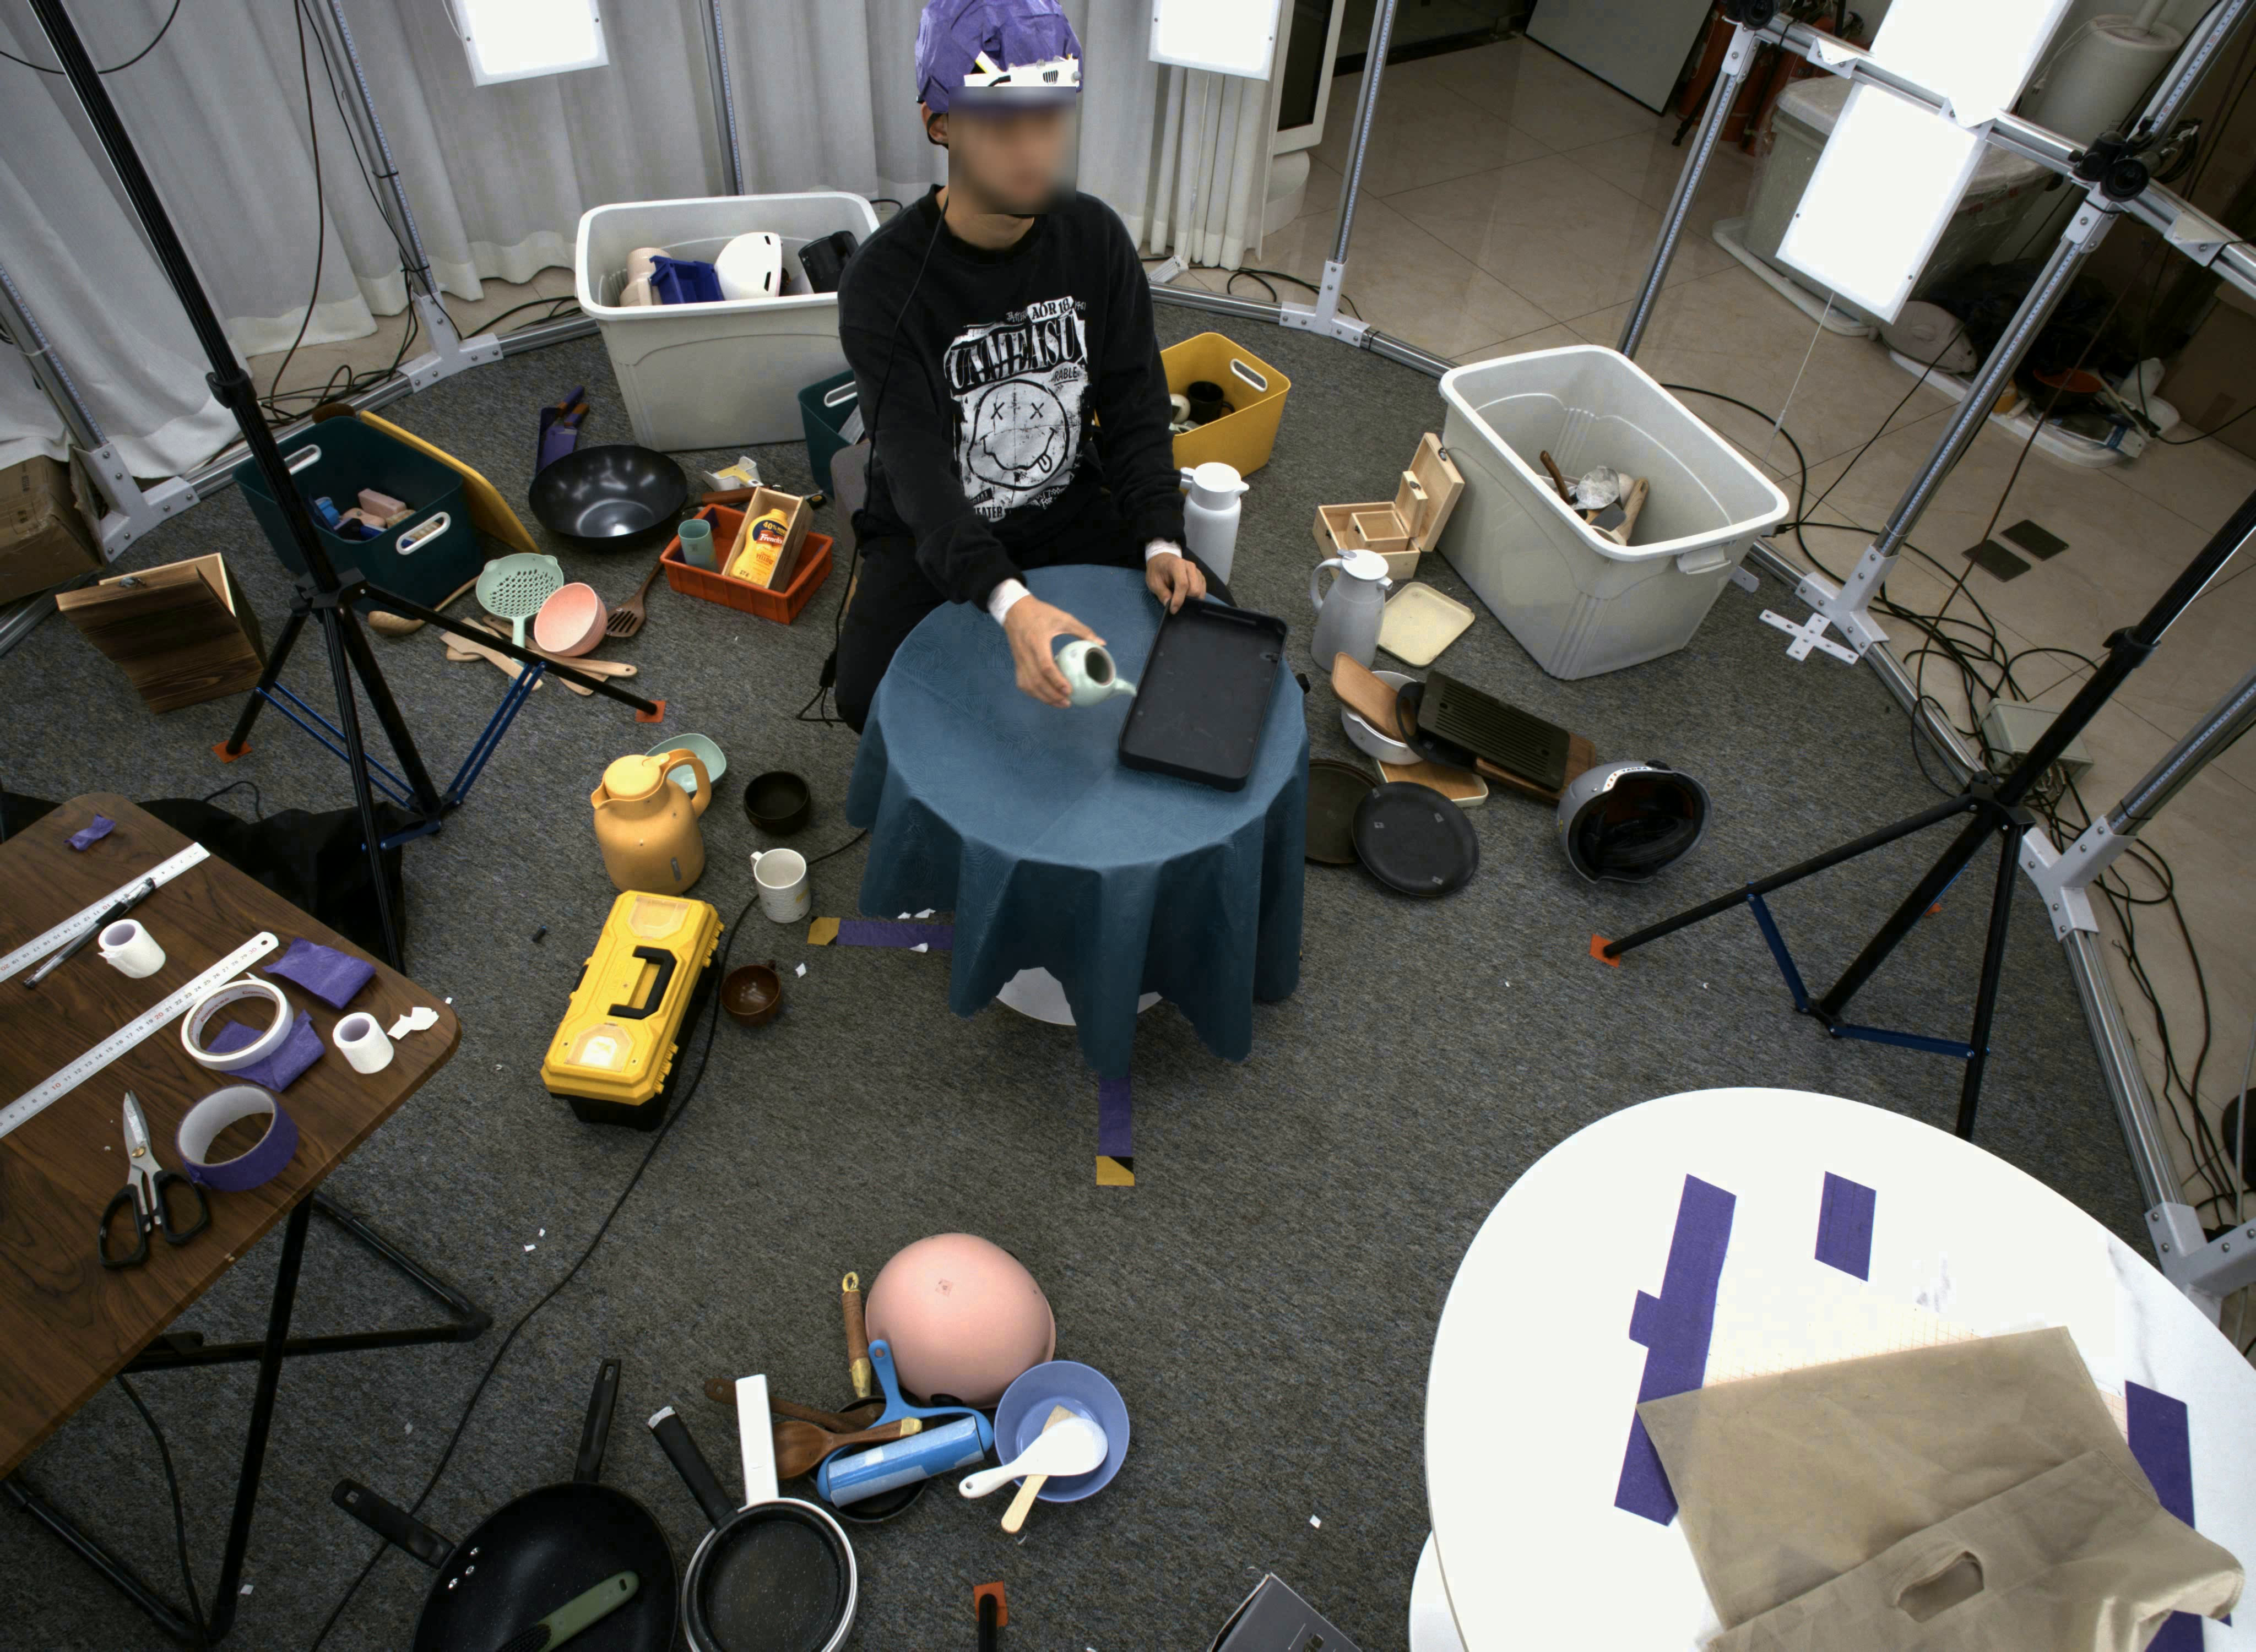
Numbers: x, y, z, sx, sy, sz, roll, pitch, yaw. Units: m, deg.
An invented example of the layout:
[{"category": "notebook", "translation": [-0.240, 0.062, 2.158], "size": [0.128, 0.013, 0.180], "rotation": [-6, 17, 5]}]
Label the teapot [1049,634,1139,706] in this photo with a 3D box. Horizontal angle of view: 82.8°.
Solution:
[{"category": "teapot", "translation": [-0.055, -0.202, 1.685], "size": [0.074, 0.141, 0.090], "rotation": [-18, 47, 40]}]

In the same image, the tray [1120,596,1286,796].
[{"category": "tray", "translation": [0.108, -0.189, 1.803], "size": [0.184, 0.036, 0.325], "rotation": [13, 53, 5]}]
